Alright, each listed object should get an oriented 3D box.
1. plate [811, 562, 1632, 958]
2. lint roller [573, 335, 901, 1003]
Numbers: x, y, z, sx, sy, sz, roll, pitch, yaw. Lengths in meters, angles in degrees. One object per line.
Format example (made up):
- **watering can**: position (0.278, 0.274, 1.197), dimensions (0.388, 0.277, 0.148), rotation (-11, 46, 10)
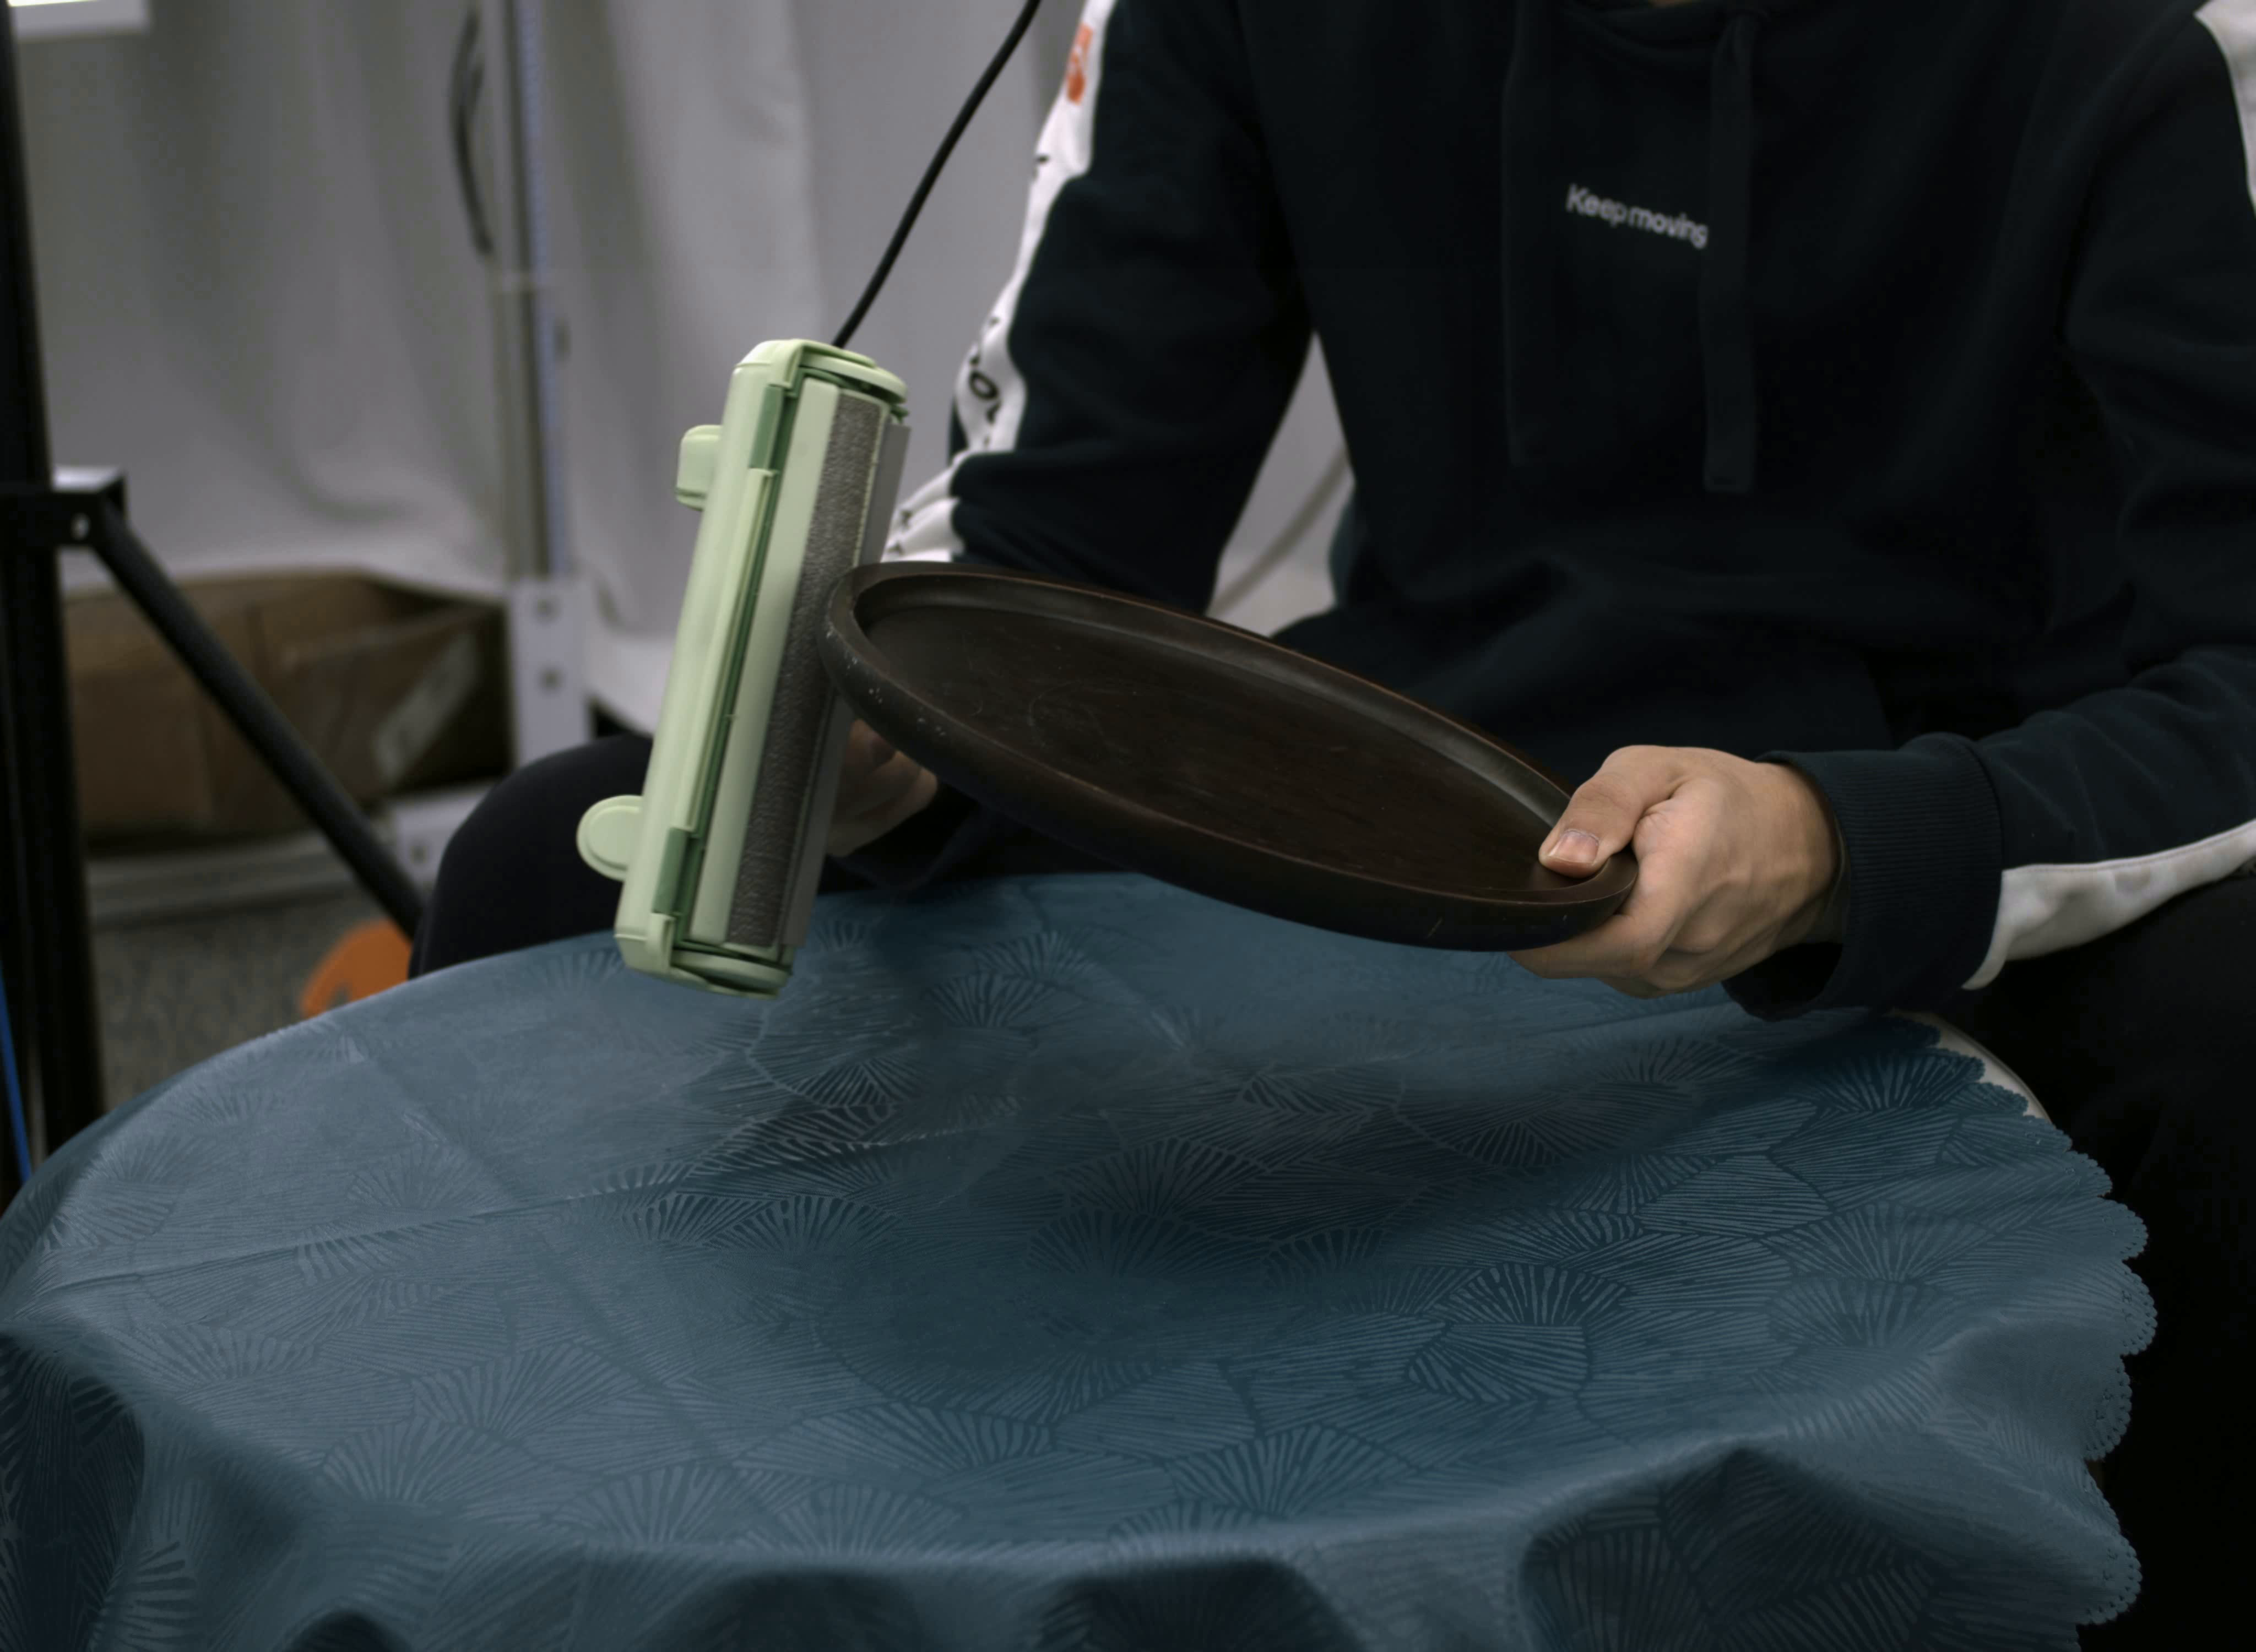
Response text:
- **plate**: position (0.026, -0.020, 1.551), dimensions (0.252, 0.029, 0.256), rotation (15, 16, -6)
- **lint roller**: position (-0.116, -0.042, 1.664), dimensions (0.082, 0.199, 0.182), rotation (11, -7, 3)
